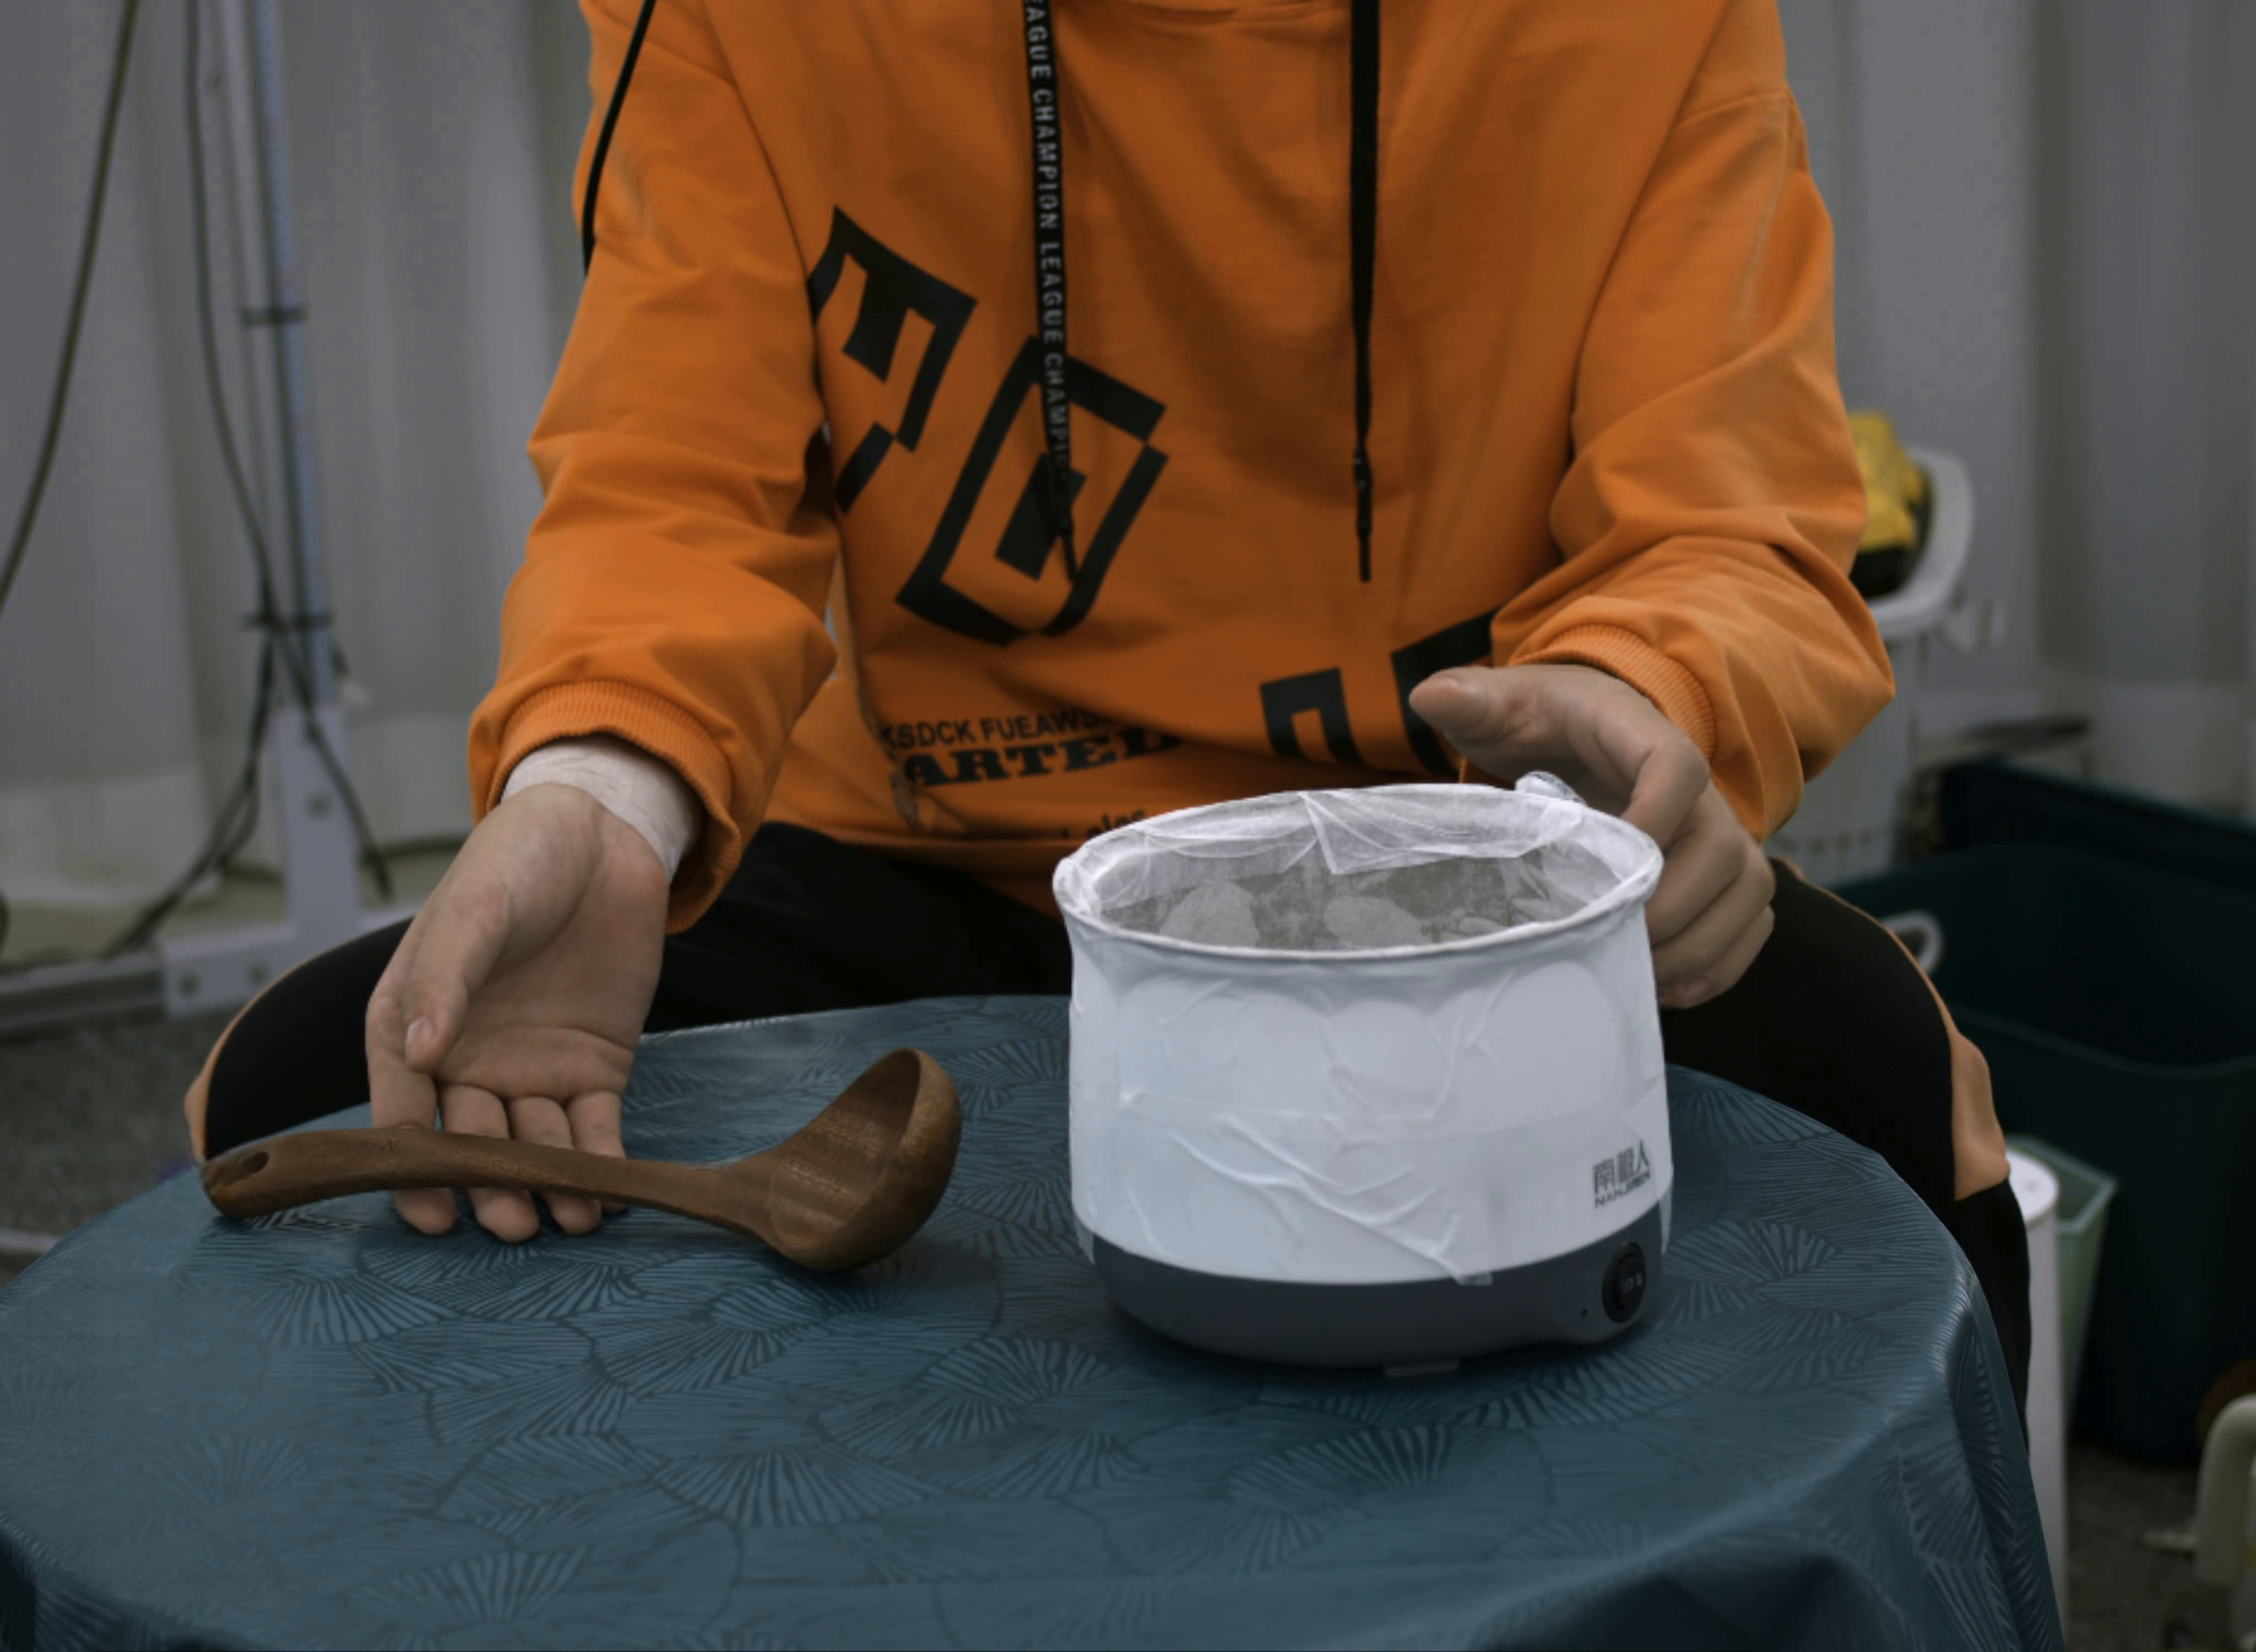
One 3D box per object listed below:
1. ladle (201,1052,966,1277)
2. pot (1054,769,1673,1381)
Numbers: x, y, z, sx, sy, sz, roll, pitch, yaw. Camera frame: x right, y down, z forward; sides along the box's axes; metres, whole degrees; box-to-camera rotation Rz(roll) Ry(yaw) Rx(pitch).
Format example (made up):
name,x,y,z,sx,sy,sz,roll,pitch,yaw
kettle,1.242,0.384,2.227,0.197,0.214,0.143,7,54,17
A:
name,x,y,z,sx,sy,sz,roll,pitch,yaw
ladle,-0.172,0.101,1.686,0.260,0.064,0.077,2,41,17
pot,0.085,0.066,1.616,0.179,0.136,0.234,8,18,34
